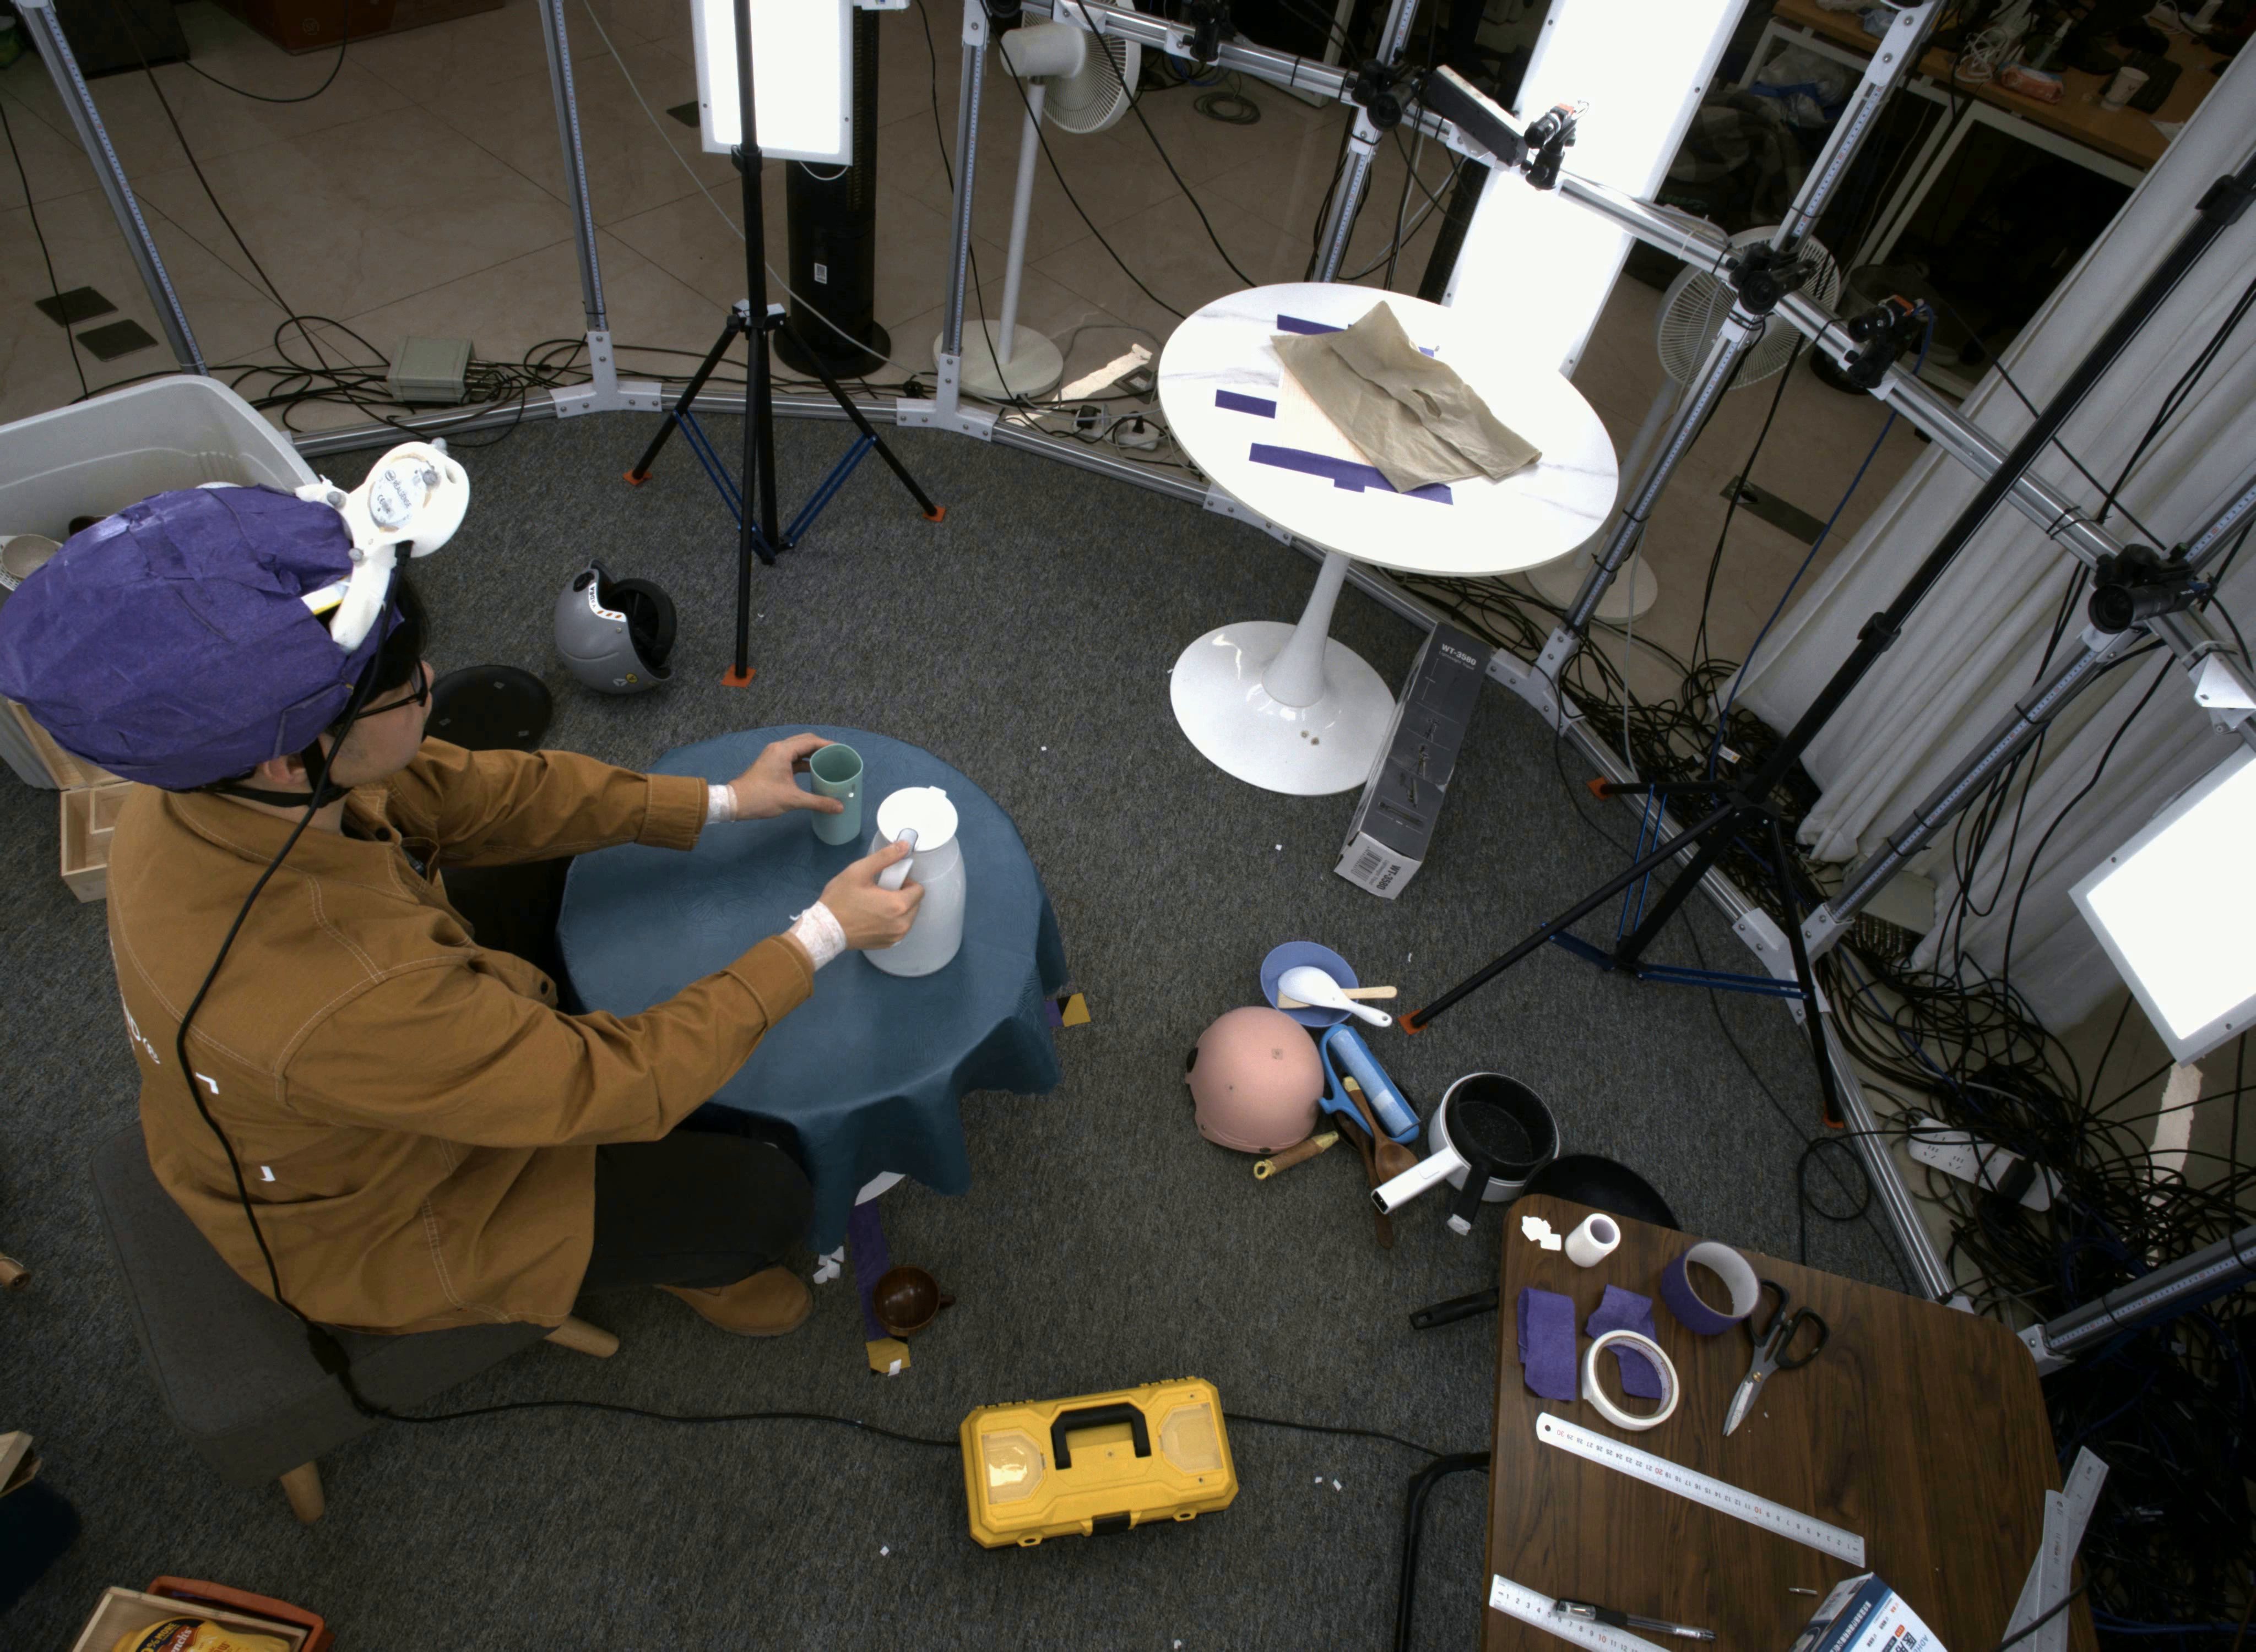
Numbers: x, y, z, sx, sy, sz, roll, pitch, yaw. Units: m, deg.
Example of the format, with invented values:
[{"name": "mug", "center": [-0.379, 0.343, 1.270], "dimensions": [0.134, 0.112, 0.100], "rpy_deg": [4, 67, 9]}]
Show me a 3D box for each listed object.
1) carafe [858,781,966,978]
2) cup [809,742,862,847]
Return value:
[{"name": "carafe", "center": [-0.262, 0.073, 1.549], "dimensions": [0.131, 0.254, 0.166], "rpy_deg": [19, 52, 3]}, {"name": "cup", "center": [-0.380, -0.040, 1.682], "dimensions": [0.066, 0.135, 0.065], "rpy_deg": [6, 51, -7]}]
